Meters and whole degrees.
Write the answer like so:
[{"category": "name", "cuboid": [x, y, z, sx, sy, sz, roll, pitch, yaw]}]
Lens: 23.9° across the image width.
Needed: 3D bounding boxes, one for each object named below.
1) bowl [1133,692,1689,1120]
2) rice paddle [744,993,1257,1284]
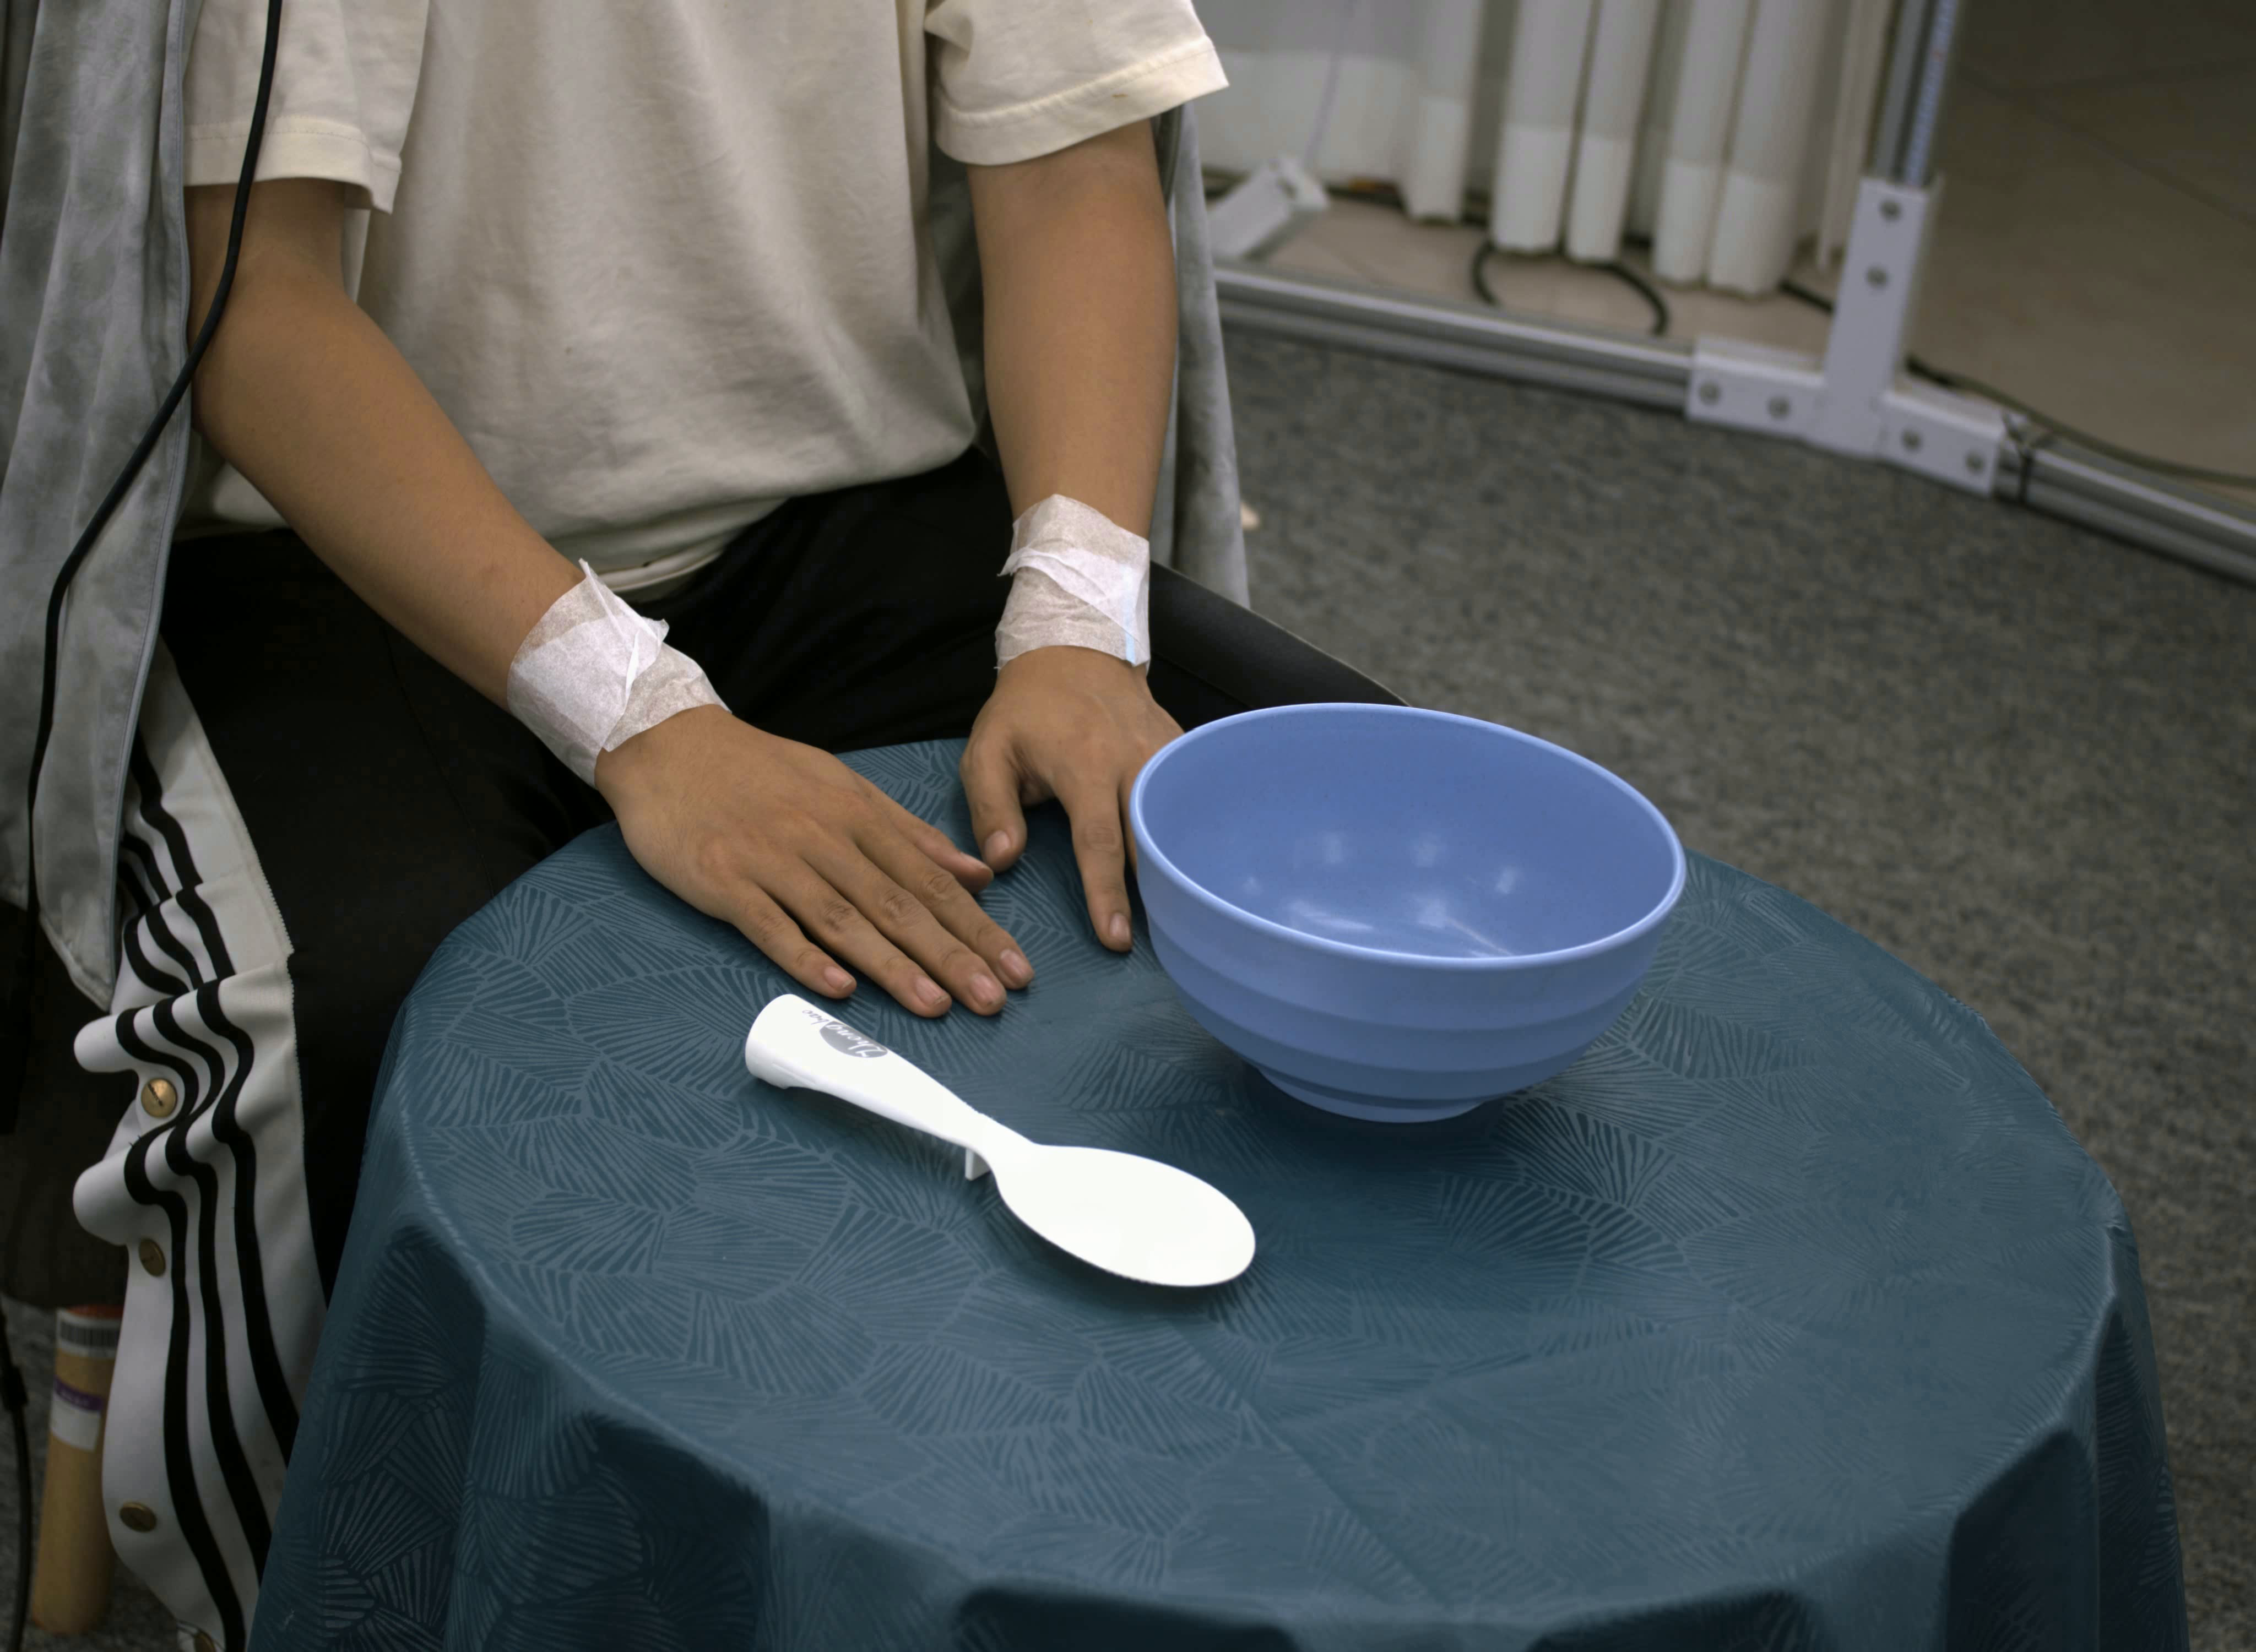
[{"category": "bowl", "cuboid": [0.093, 0.040, 1.883, 0.196, 0.095, 0.198, 6, 29, -4]}, {"category": "rice paddle", "cuboid": [-0.043, 0.107, 1.794, 0.206, 0.029, 0.068, 24, 33, 31]}]
